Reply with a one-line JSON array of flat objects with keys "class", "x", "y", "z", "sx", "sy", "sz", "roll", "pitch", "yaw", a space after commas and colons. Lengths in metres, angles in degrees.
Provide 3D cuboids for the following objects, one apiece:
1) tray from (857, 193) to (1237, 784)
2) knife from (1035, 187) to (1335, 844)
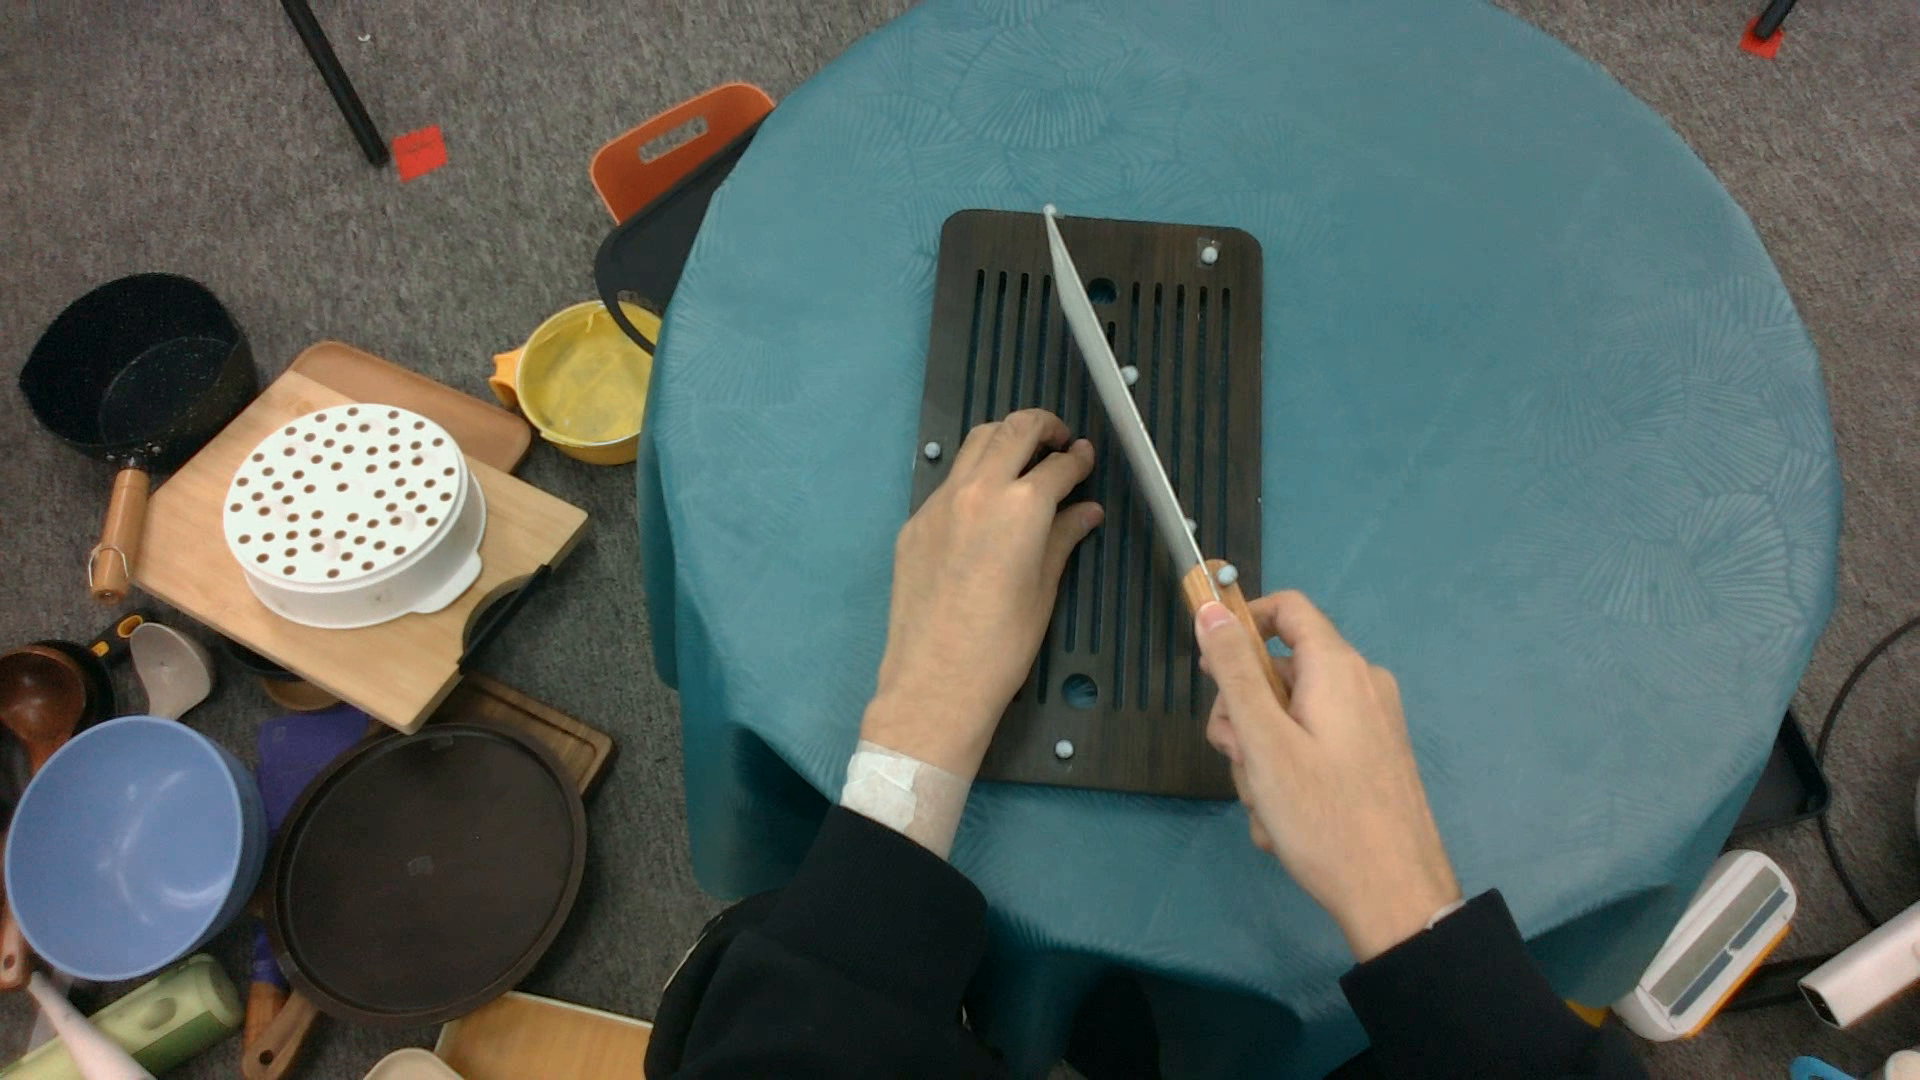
[{"class": "tray", "x": 0.049, "y": -0.036, "z": 0.672, "sx": 0.170, "sy": 0.018, "sz": 0.307, "roll": 5, "pitch": 67, "yaw": 1}, {"class": "knife", "x": 0.088, "y": -0.013, "z": 0.594, "sx": 0.021, "sy": 0.093, "sz": 0.306, "roll": -21, "pitch": 69, "yaw": 3}]
